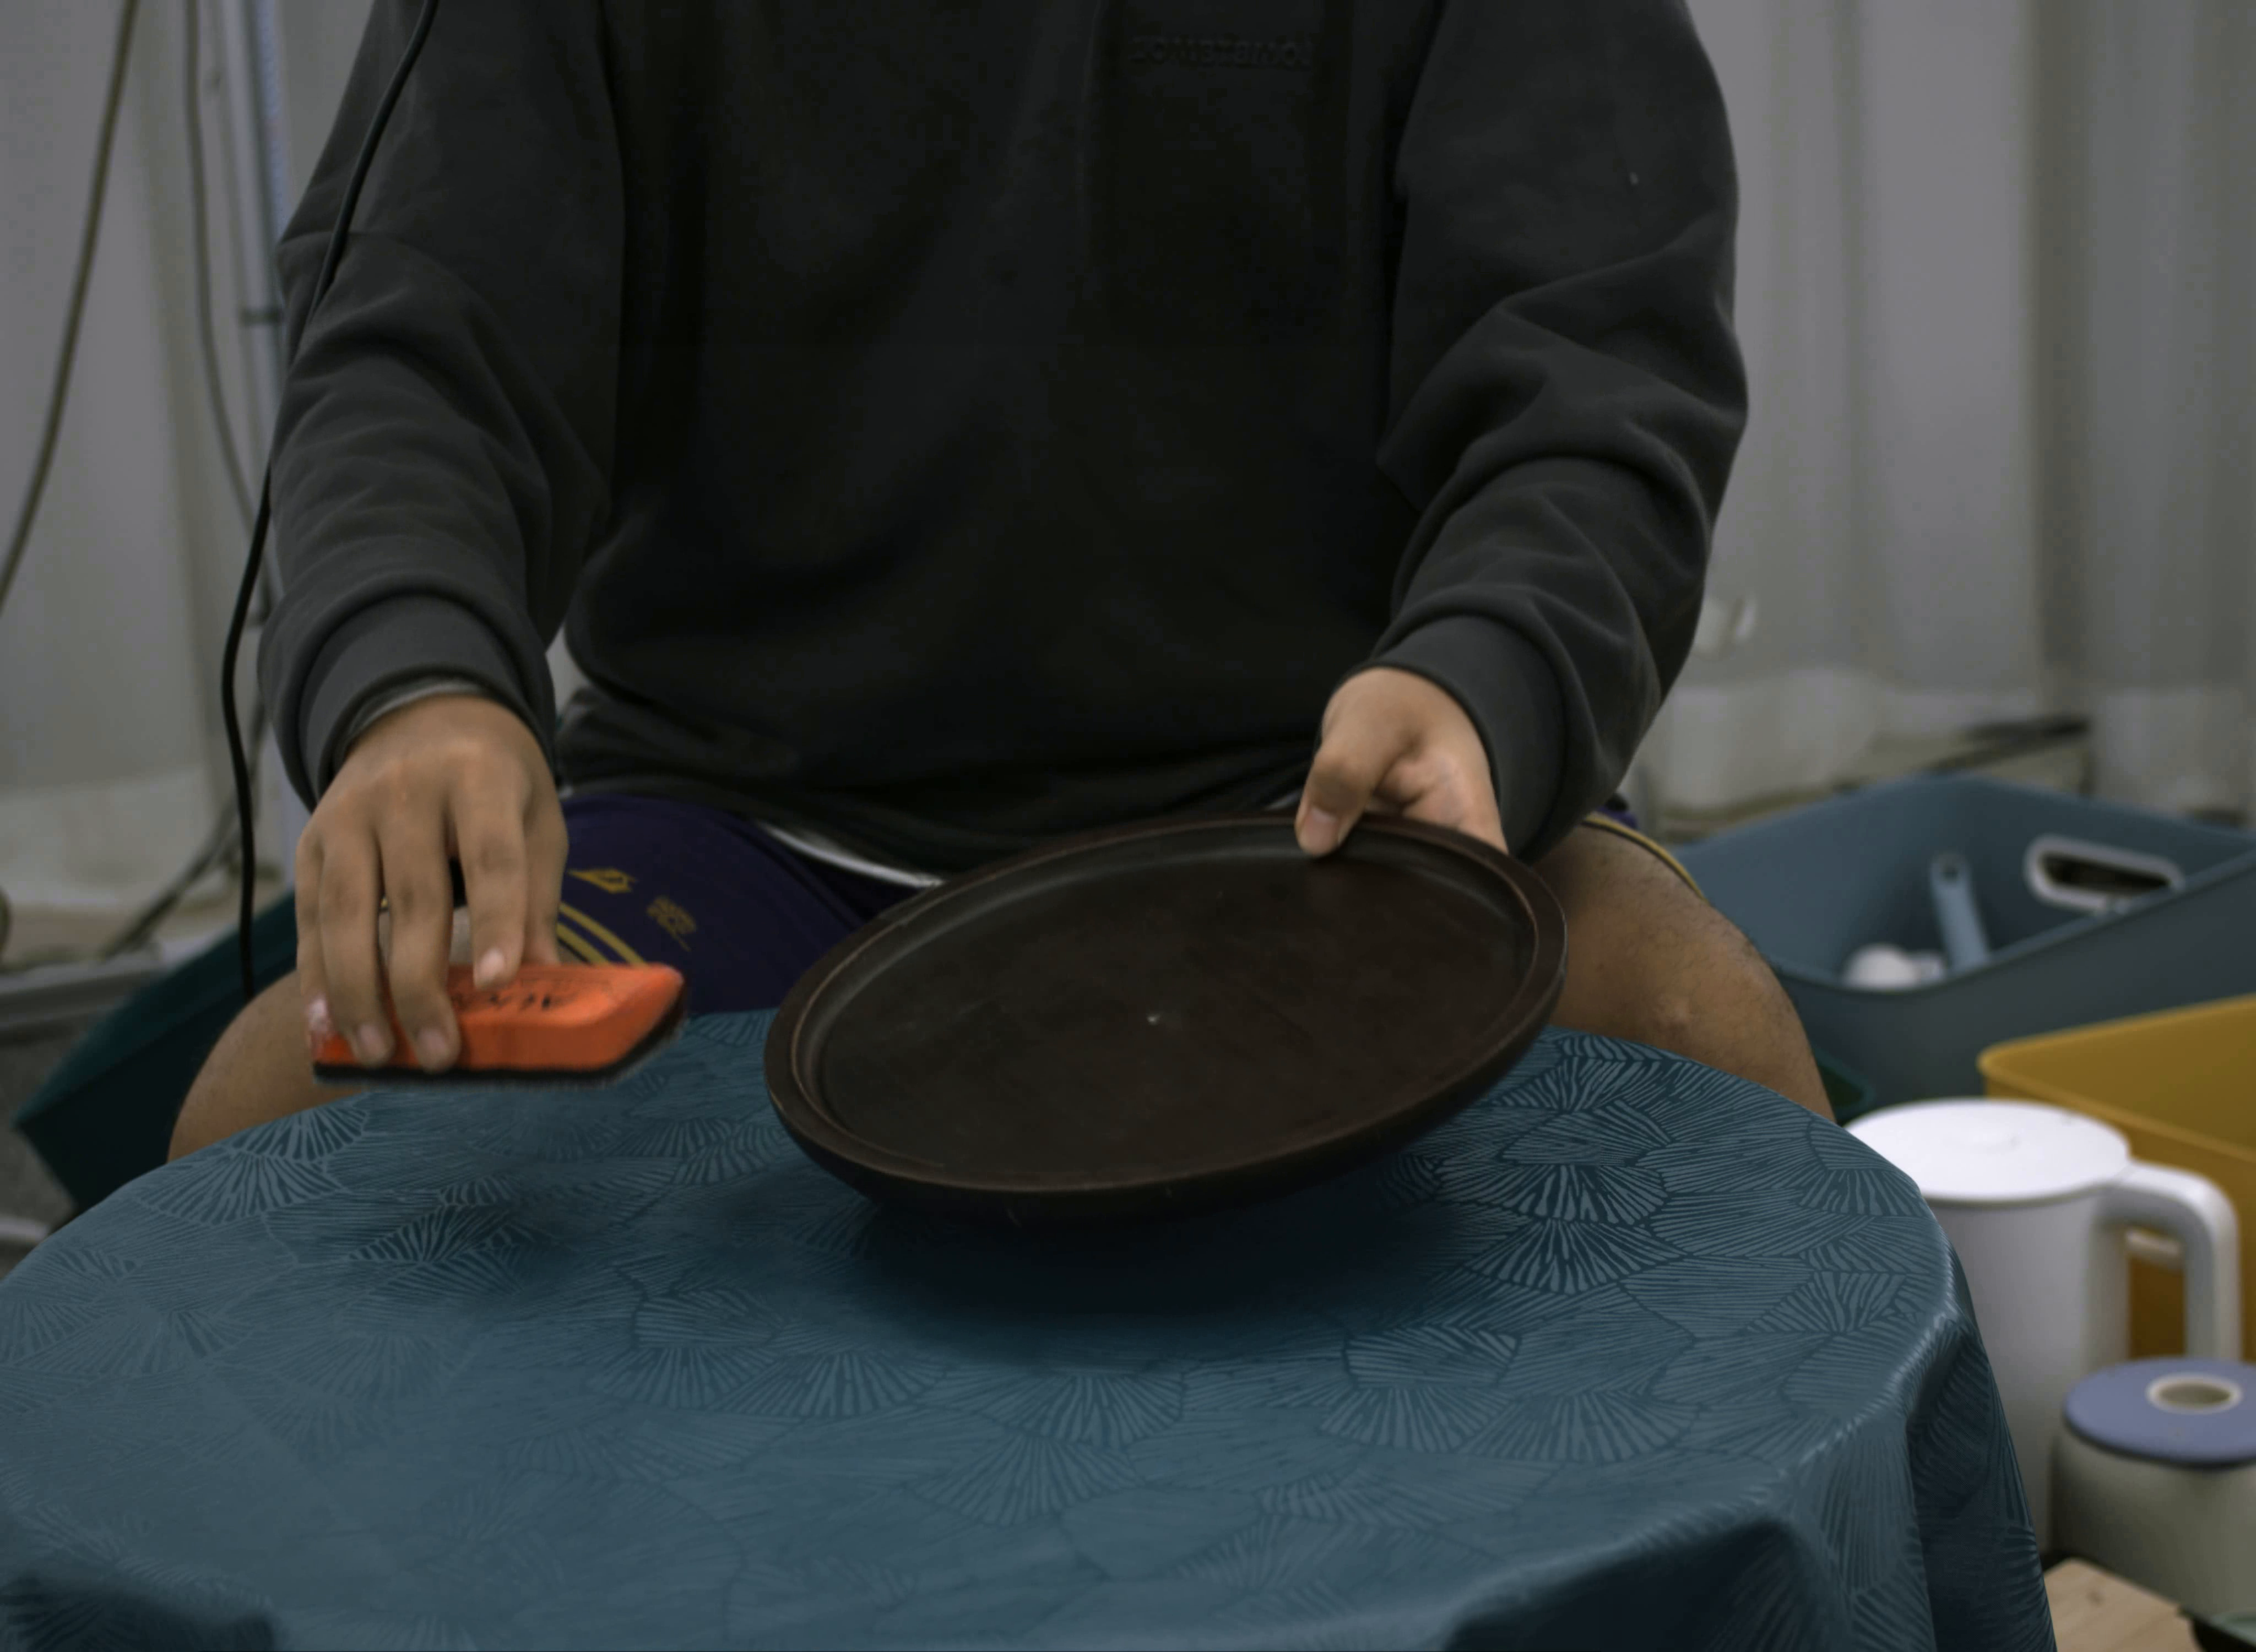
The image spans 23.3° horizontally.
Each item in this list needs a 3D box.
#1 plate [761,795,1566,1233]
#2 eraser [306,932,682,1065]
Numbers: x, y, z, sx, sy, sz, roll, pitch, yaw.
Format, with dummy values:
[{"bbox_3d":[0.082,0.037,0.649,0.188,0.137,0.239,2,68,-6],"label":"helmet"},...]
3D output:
[{"bbox_3d":[0.012,0.056,1.691,0.254,0.029,0.257,-11,24,5],"label":"plate"},{"bbox_3d":[-0.196,0.053,1.694,0.108,0.023,0.059,-1,18,24],"label":"eraser"}]
